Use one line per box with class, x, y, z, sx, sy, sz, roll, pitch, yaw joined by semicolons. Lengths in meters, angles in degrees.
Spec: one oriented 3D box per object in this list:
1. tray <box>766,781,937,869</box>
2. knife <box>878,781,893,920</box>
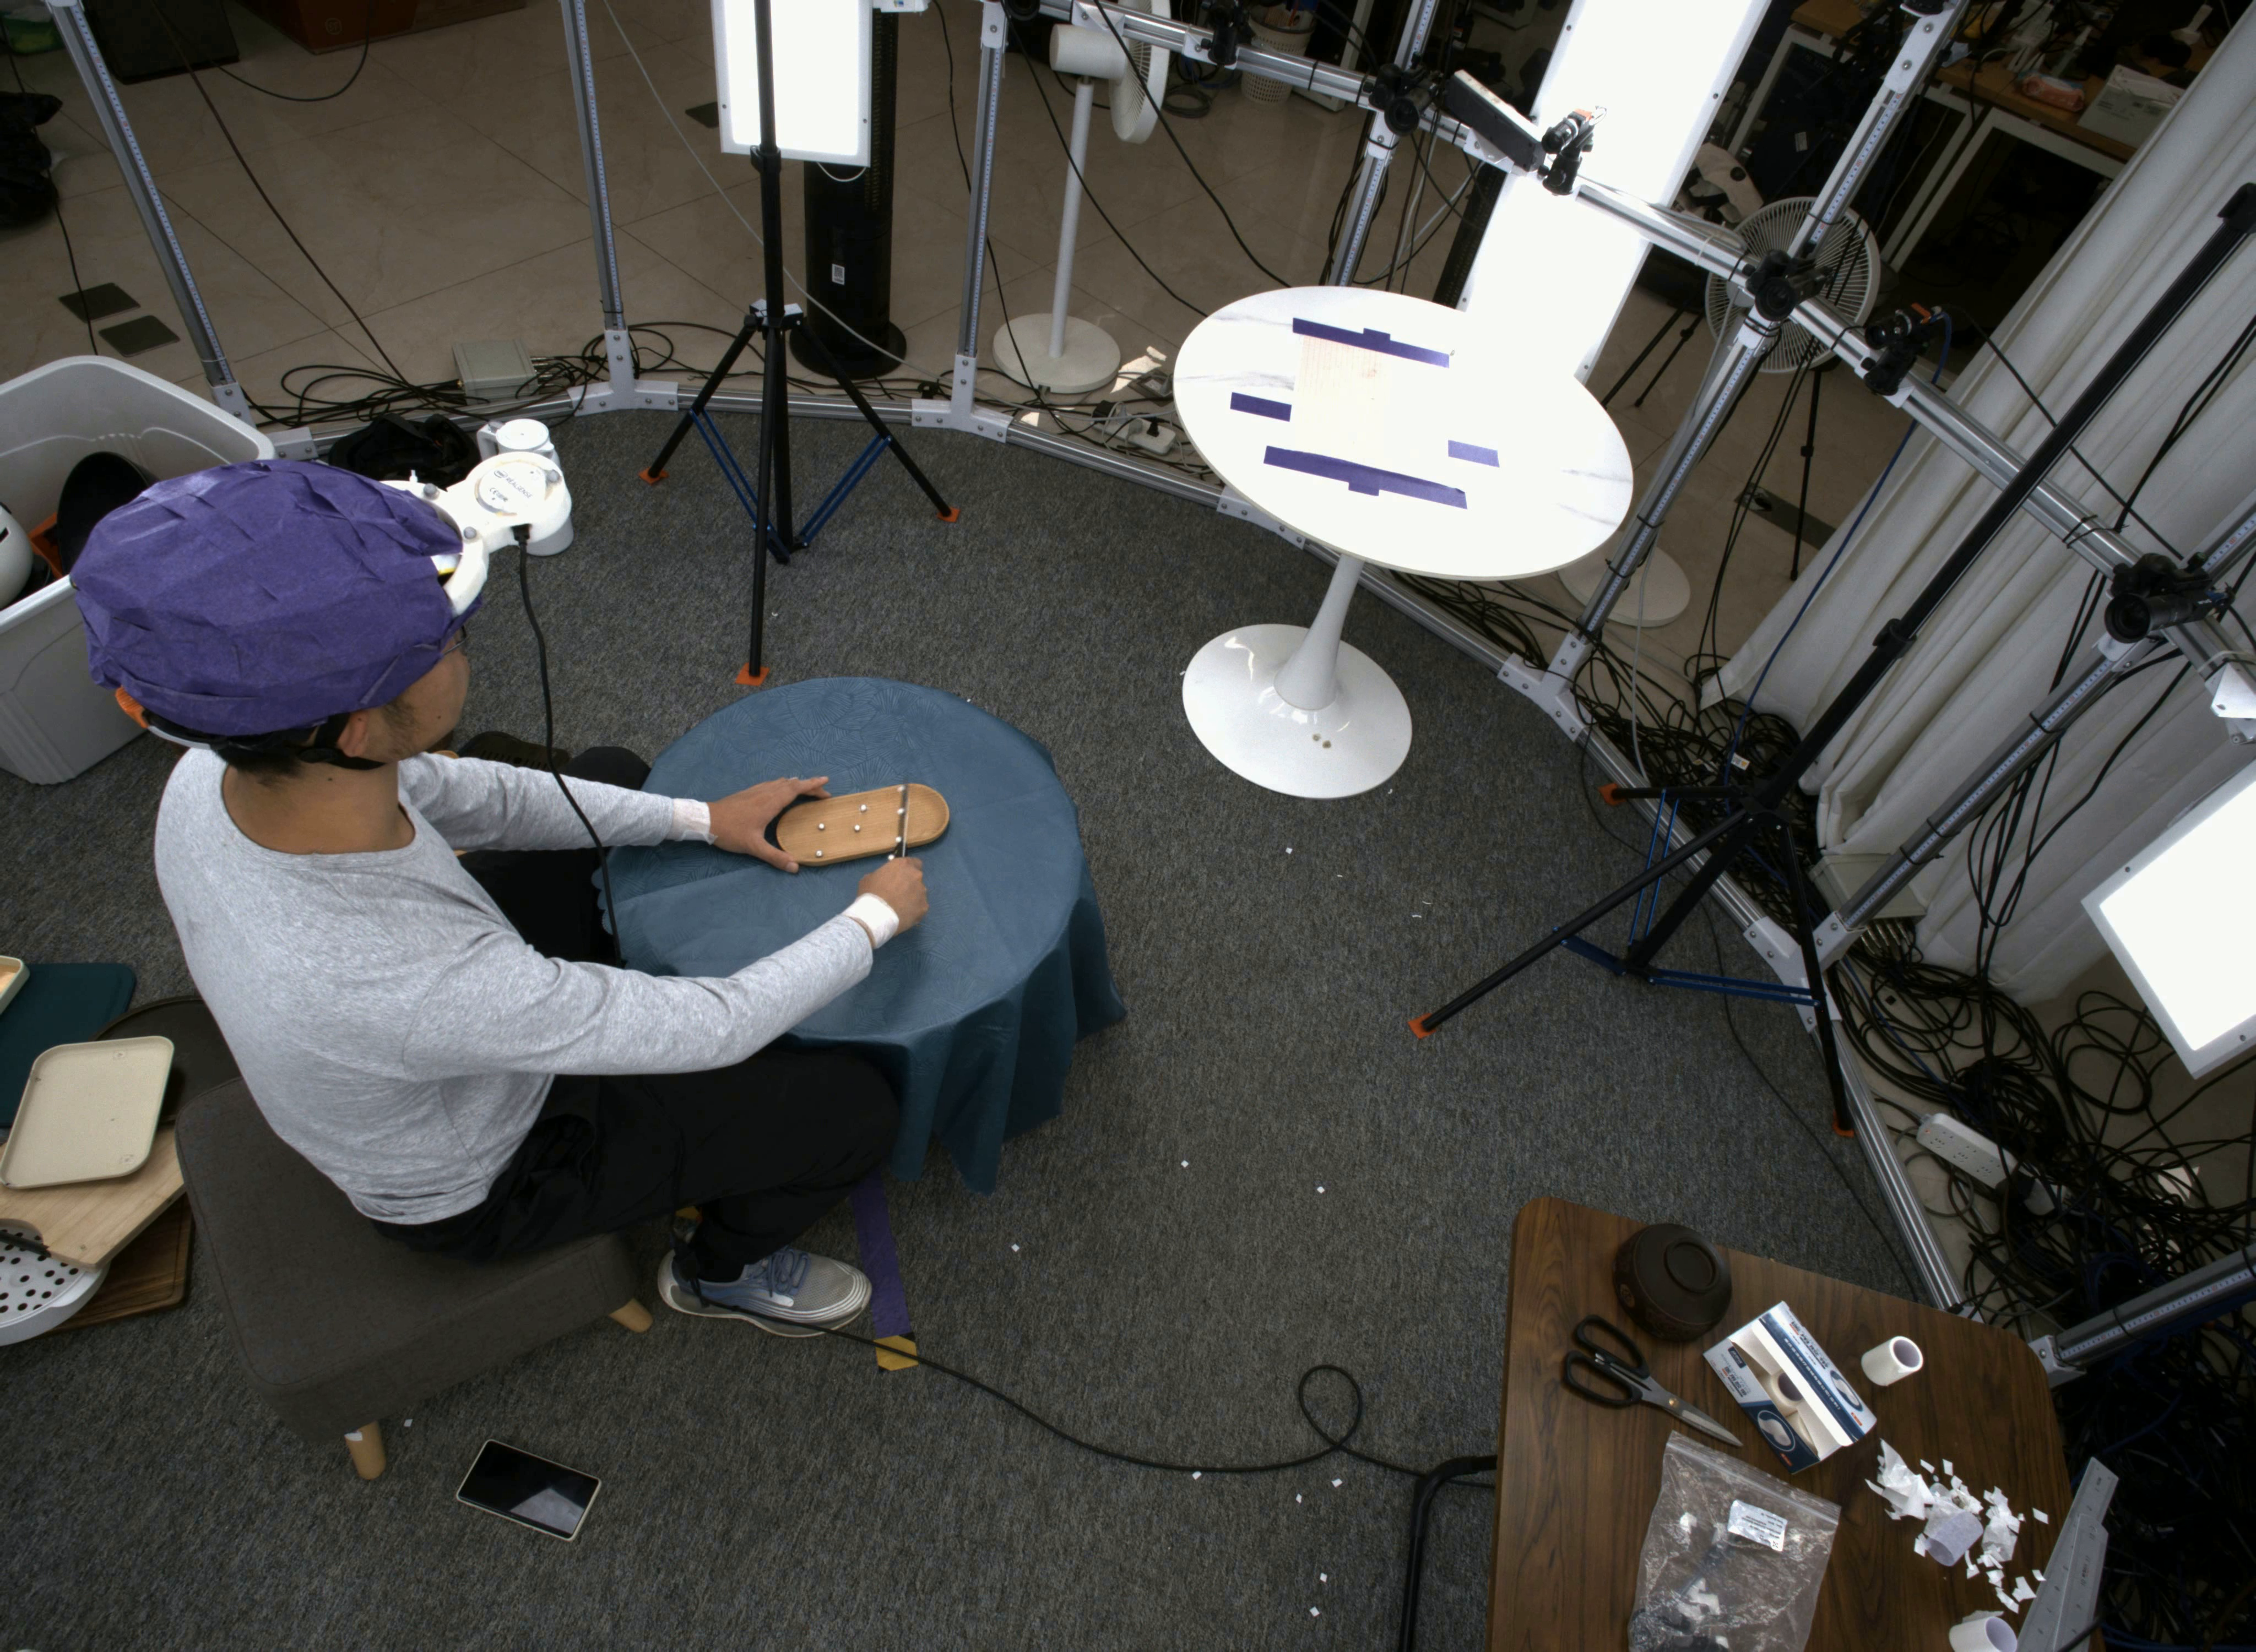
tray;-0.369;-0.003;1.742;0.232;0.020;0.099;-14;60;-25
knife;-0.314;0.023;1.681;0.016;0.025;0.232;12;44;-23
